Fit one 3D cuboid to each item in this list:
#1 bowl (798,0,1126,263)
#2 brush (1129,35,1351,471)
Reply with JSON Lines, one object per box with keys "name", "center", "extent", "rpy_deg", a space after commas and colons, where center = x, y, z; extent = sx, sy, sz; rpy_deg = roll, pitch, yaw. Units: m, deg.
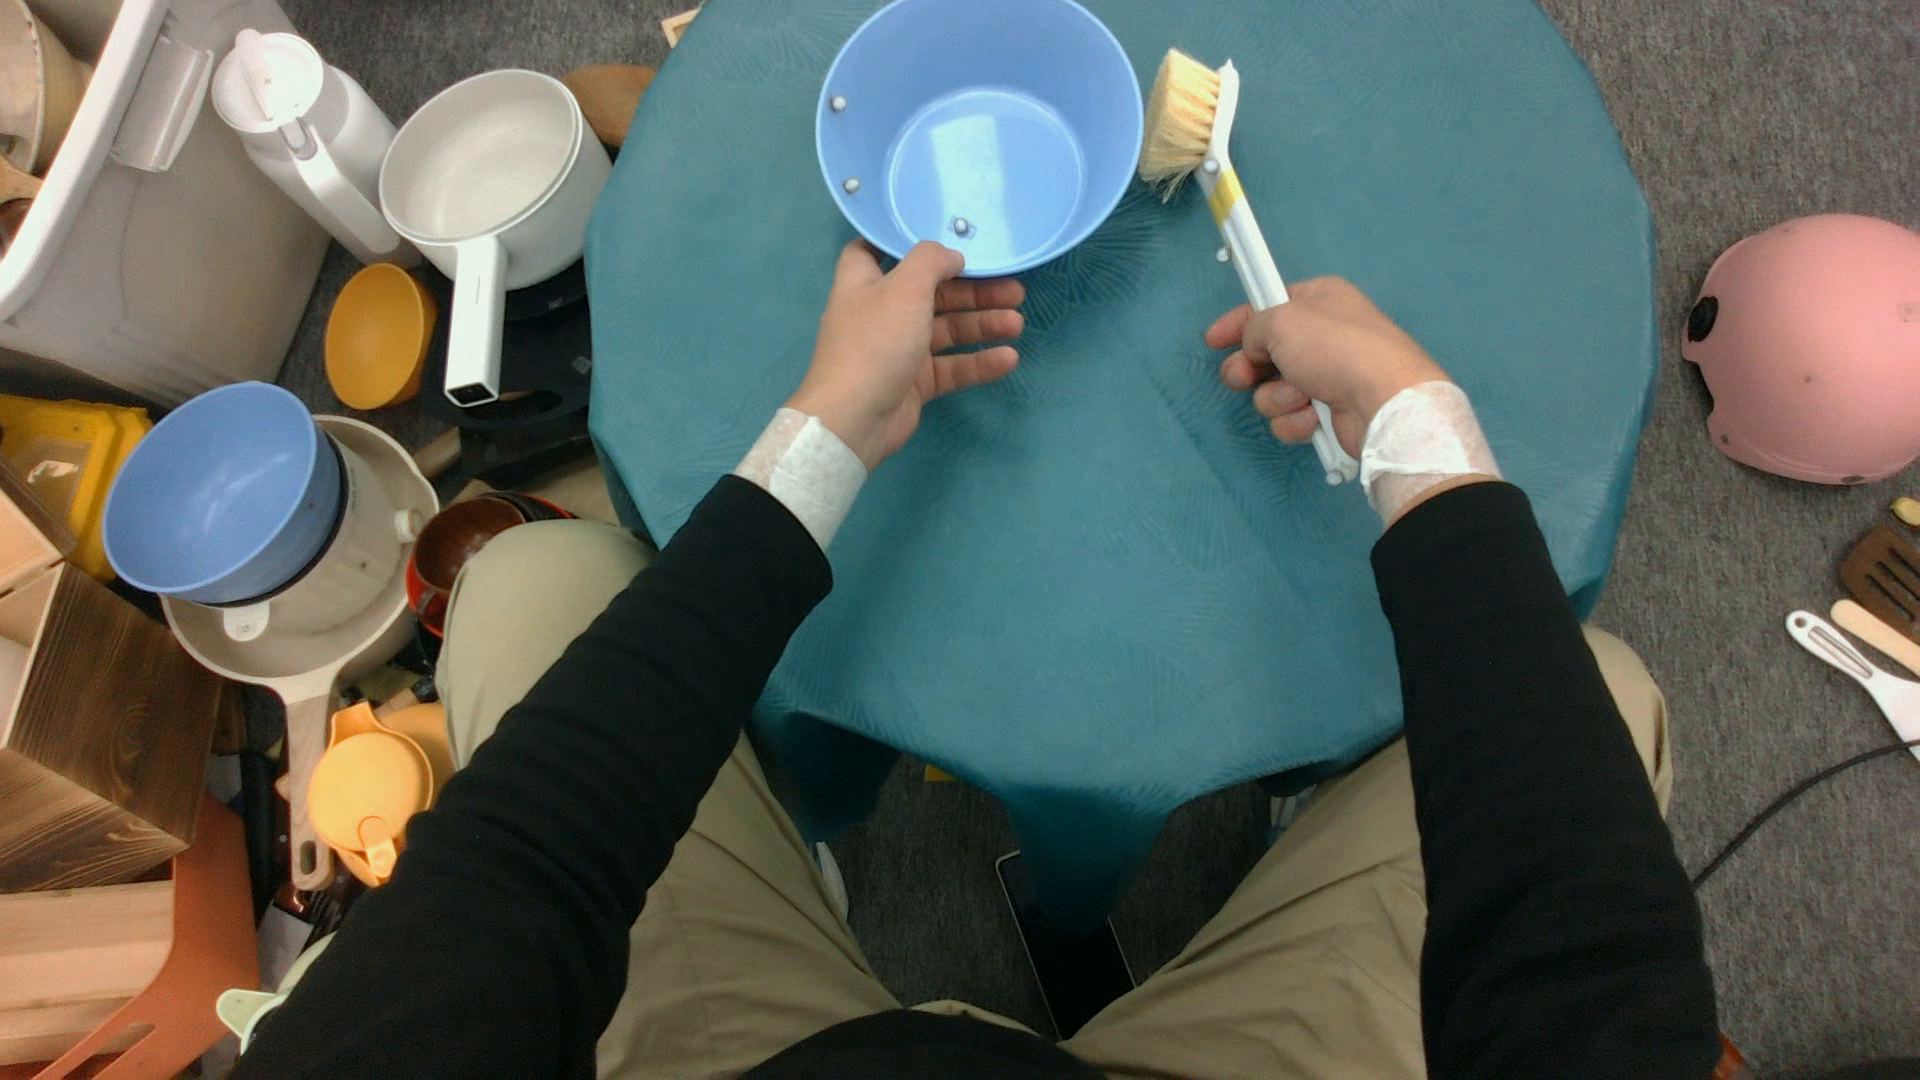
{"name": "bowl", "center": [0.003, -0.223, 0.765], "extent": [0.176, 0.070, 0.176], "rpy_deg": [-1, 77, 4]}
{"name": "brush", "center": [0.139, -0.154, 0.726], "extent": [0.056, 0.068, 0.267], "rpy_deg": [-11, 70, -5]}
